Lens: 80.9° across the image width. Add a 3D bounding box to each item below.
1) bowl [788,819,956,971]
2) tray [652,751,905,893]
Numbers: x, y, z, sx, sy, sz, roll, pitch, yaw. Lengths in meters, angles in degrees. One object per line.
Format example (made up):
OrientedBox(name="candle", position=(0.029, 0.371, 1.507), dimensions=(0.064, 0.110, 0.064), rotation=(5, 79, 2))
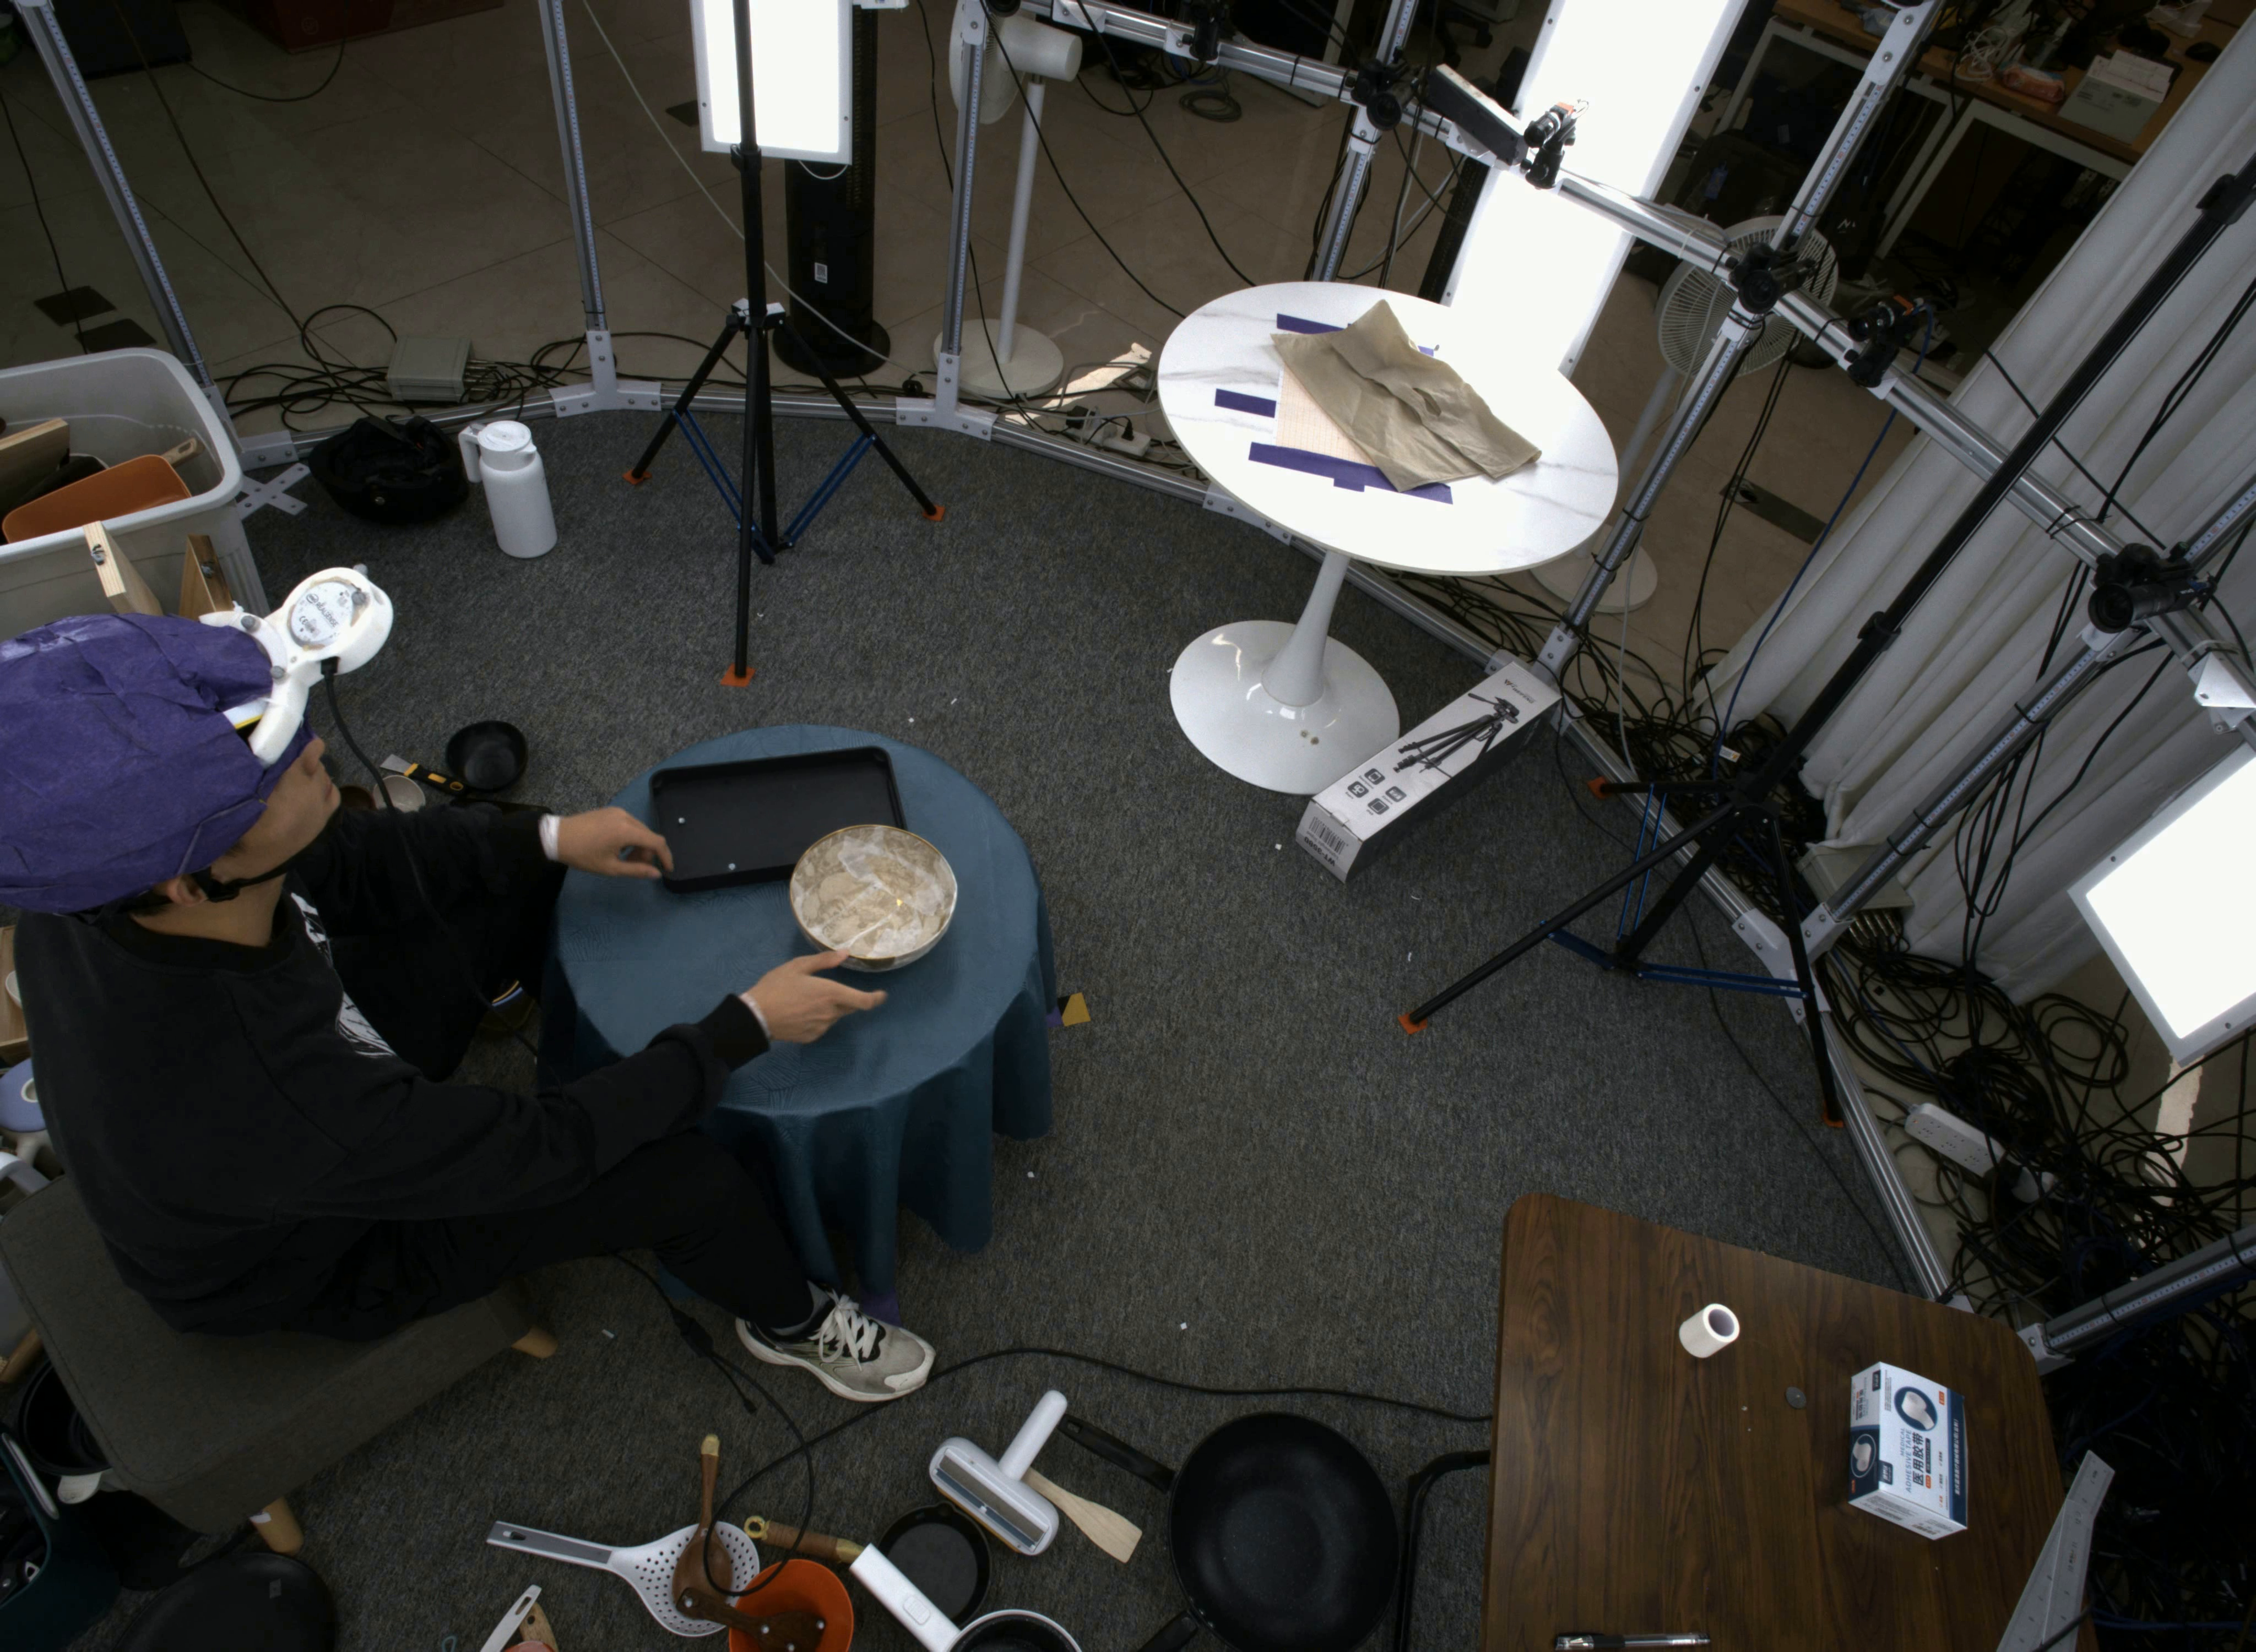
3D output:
OrientedBox(name="bowl", position=(-0.321, 0.098, 1.622), dimensions=(0.214, 0.096, 0.211), rotation=(8, 54, -9))
OrientedBox(name="tray", position=(-0.459, -0.011, 1.708), dimensions=(0.319, 0.038, 0.180), rotation=(-5, 54, -20))
